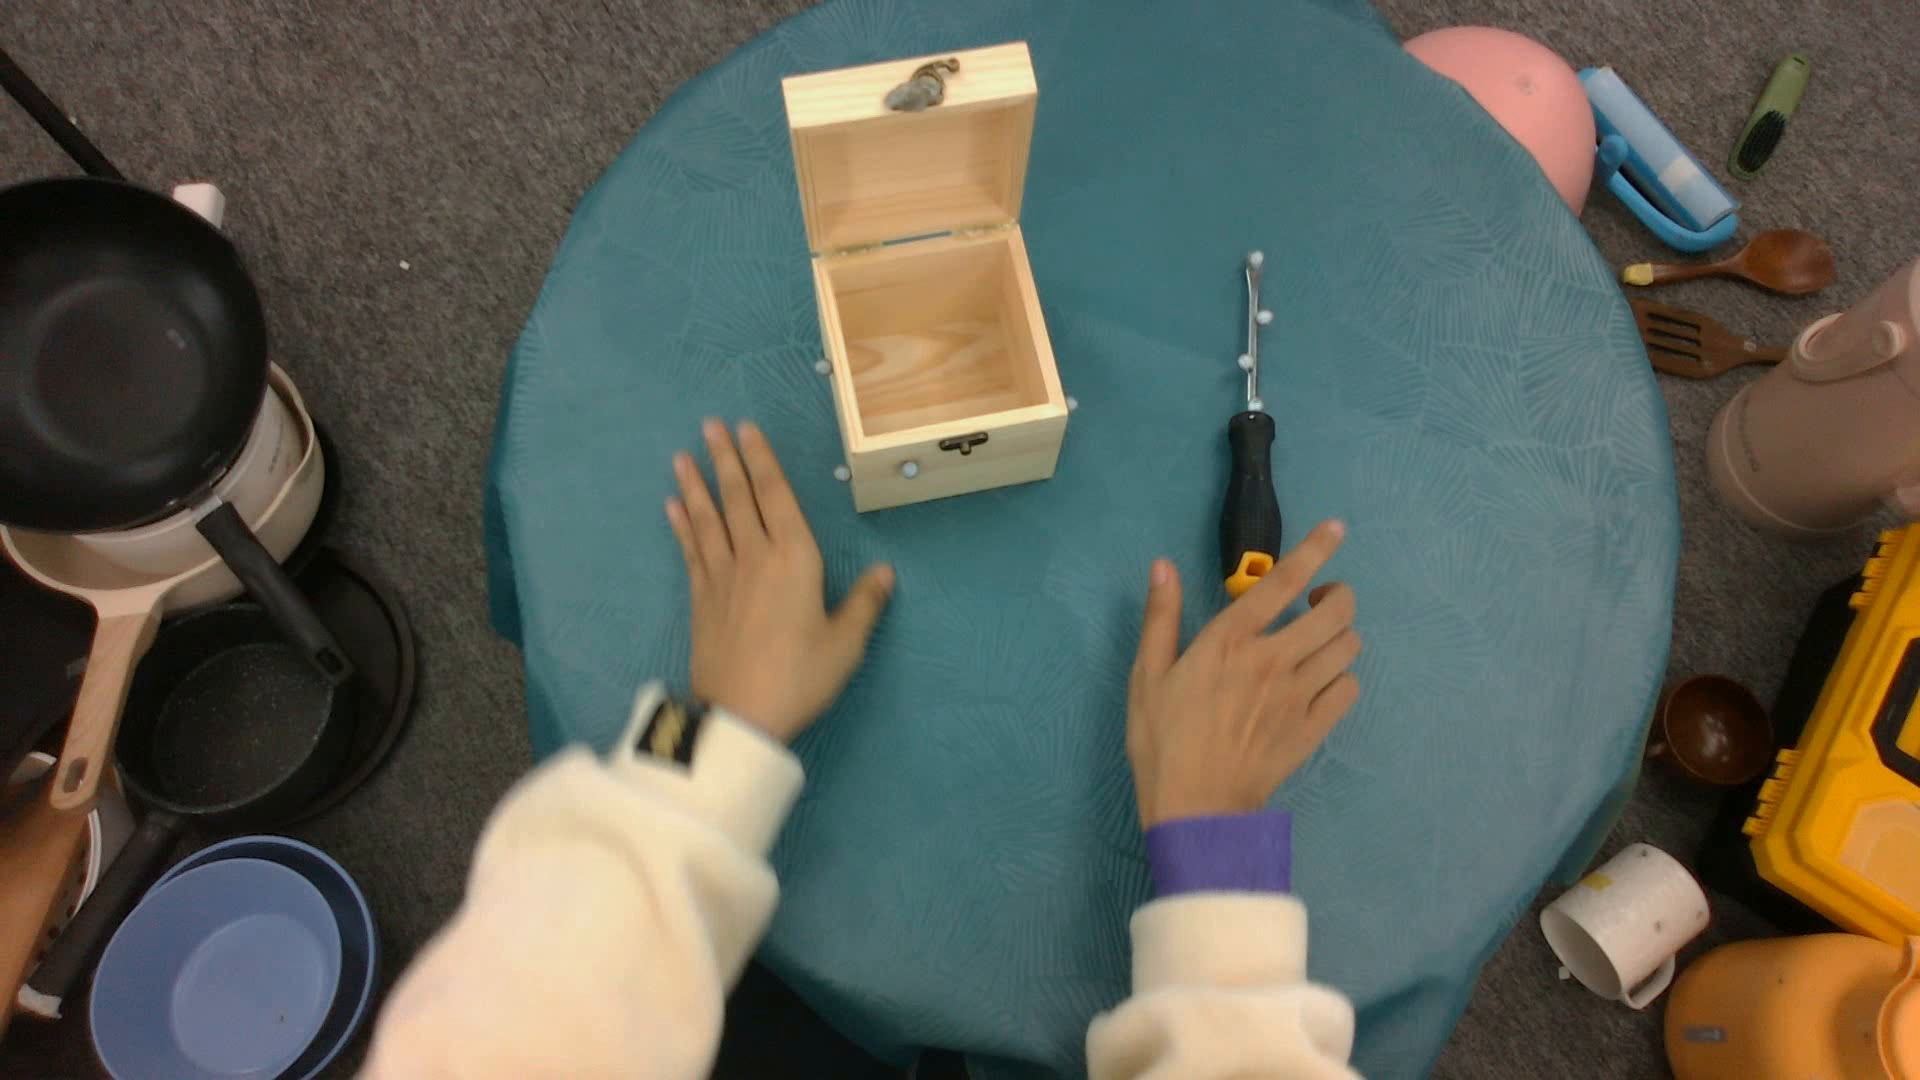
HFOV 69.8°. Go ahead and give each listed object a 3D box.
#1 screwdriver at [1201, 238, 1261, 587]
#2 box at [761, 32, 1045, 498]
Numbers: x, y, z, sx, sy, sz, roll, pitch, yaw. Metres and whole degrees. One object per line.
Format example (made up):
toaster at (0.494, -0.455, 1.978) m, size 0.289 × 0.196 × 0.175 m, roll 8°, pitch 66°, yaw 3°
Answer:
screwdriver at (0.143, -0.070, 0.704) m, size 0.031 × 0.031 × 0.198 m, roll 9°, pitch 68°, yaw 0°
box at (-0.022, -0.114, 0.623) m, size 0.103 × 0.184 × 0.134 m, roll -12°, pitch 72°, yaw -7°
